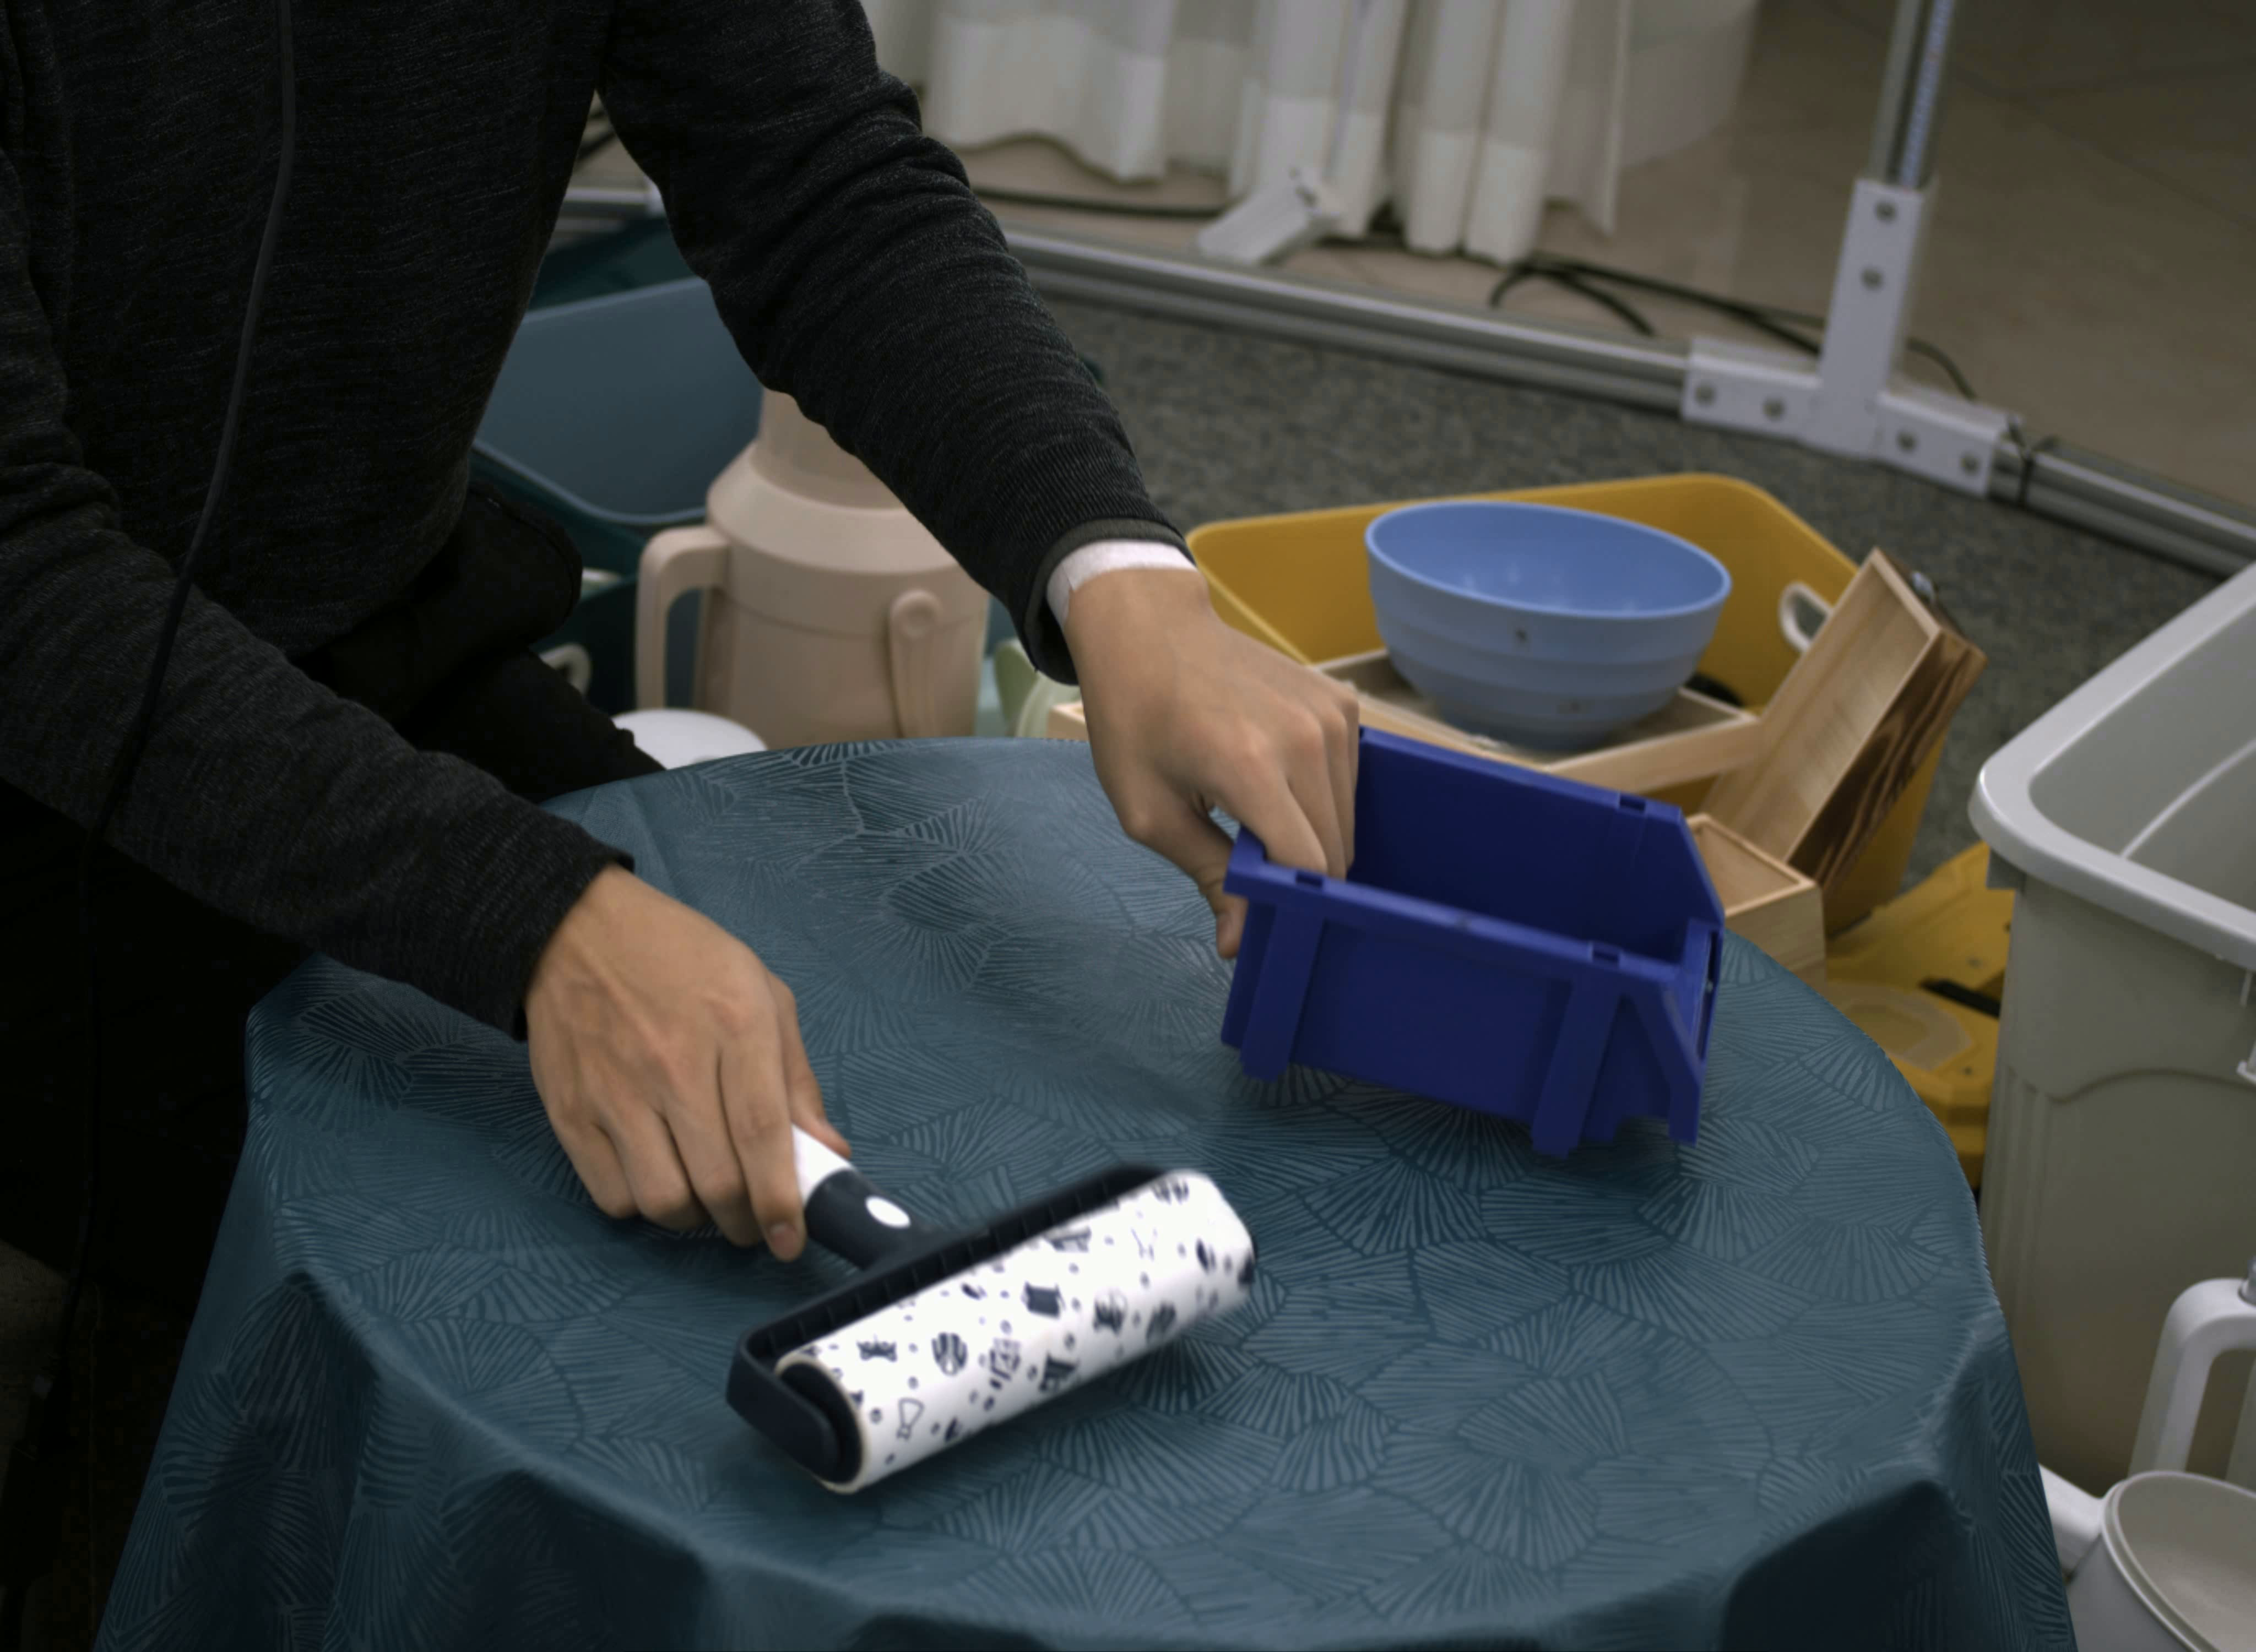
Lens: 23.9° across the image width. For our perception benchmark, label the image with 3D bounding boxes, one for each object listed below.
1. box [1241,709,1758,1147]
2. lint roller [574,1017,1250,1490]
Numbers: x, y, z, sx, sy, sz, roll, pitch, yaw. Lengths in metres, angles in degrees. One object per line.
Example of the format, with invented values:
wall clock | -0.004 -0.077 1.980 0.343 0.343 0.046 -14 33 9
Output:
box | 0.132 0.038 1.866 0.179 0.081 0.125 12 29 6
lint roller | -0.103 0.115 1.724 0.175 0.050 0.249 -26 40 -34
